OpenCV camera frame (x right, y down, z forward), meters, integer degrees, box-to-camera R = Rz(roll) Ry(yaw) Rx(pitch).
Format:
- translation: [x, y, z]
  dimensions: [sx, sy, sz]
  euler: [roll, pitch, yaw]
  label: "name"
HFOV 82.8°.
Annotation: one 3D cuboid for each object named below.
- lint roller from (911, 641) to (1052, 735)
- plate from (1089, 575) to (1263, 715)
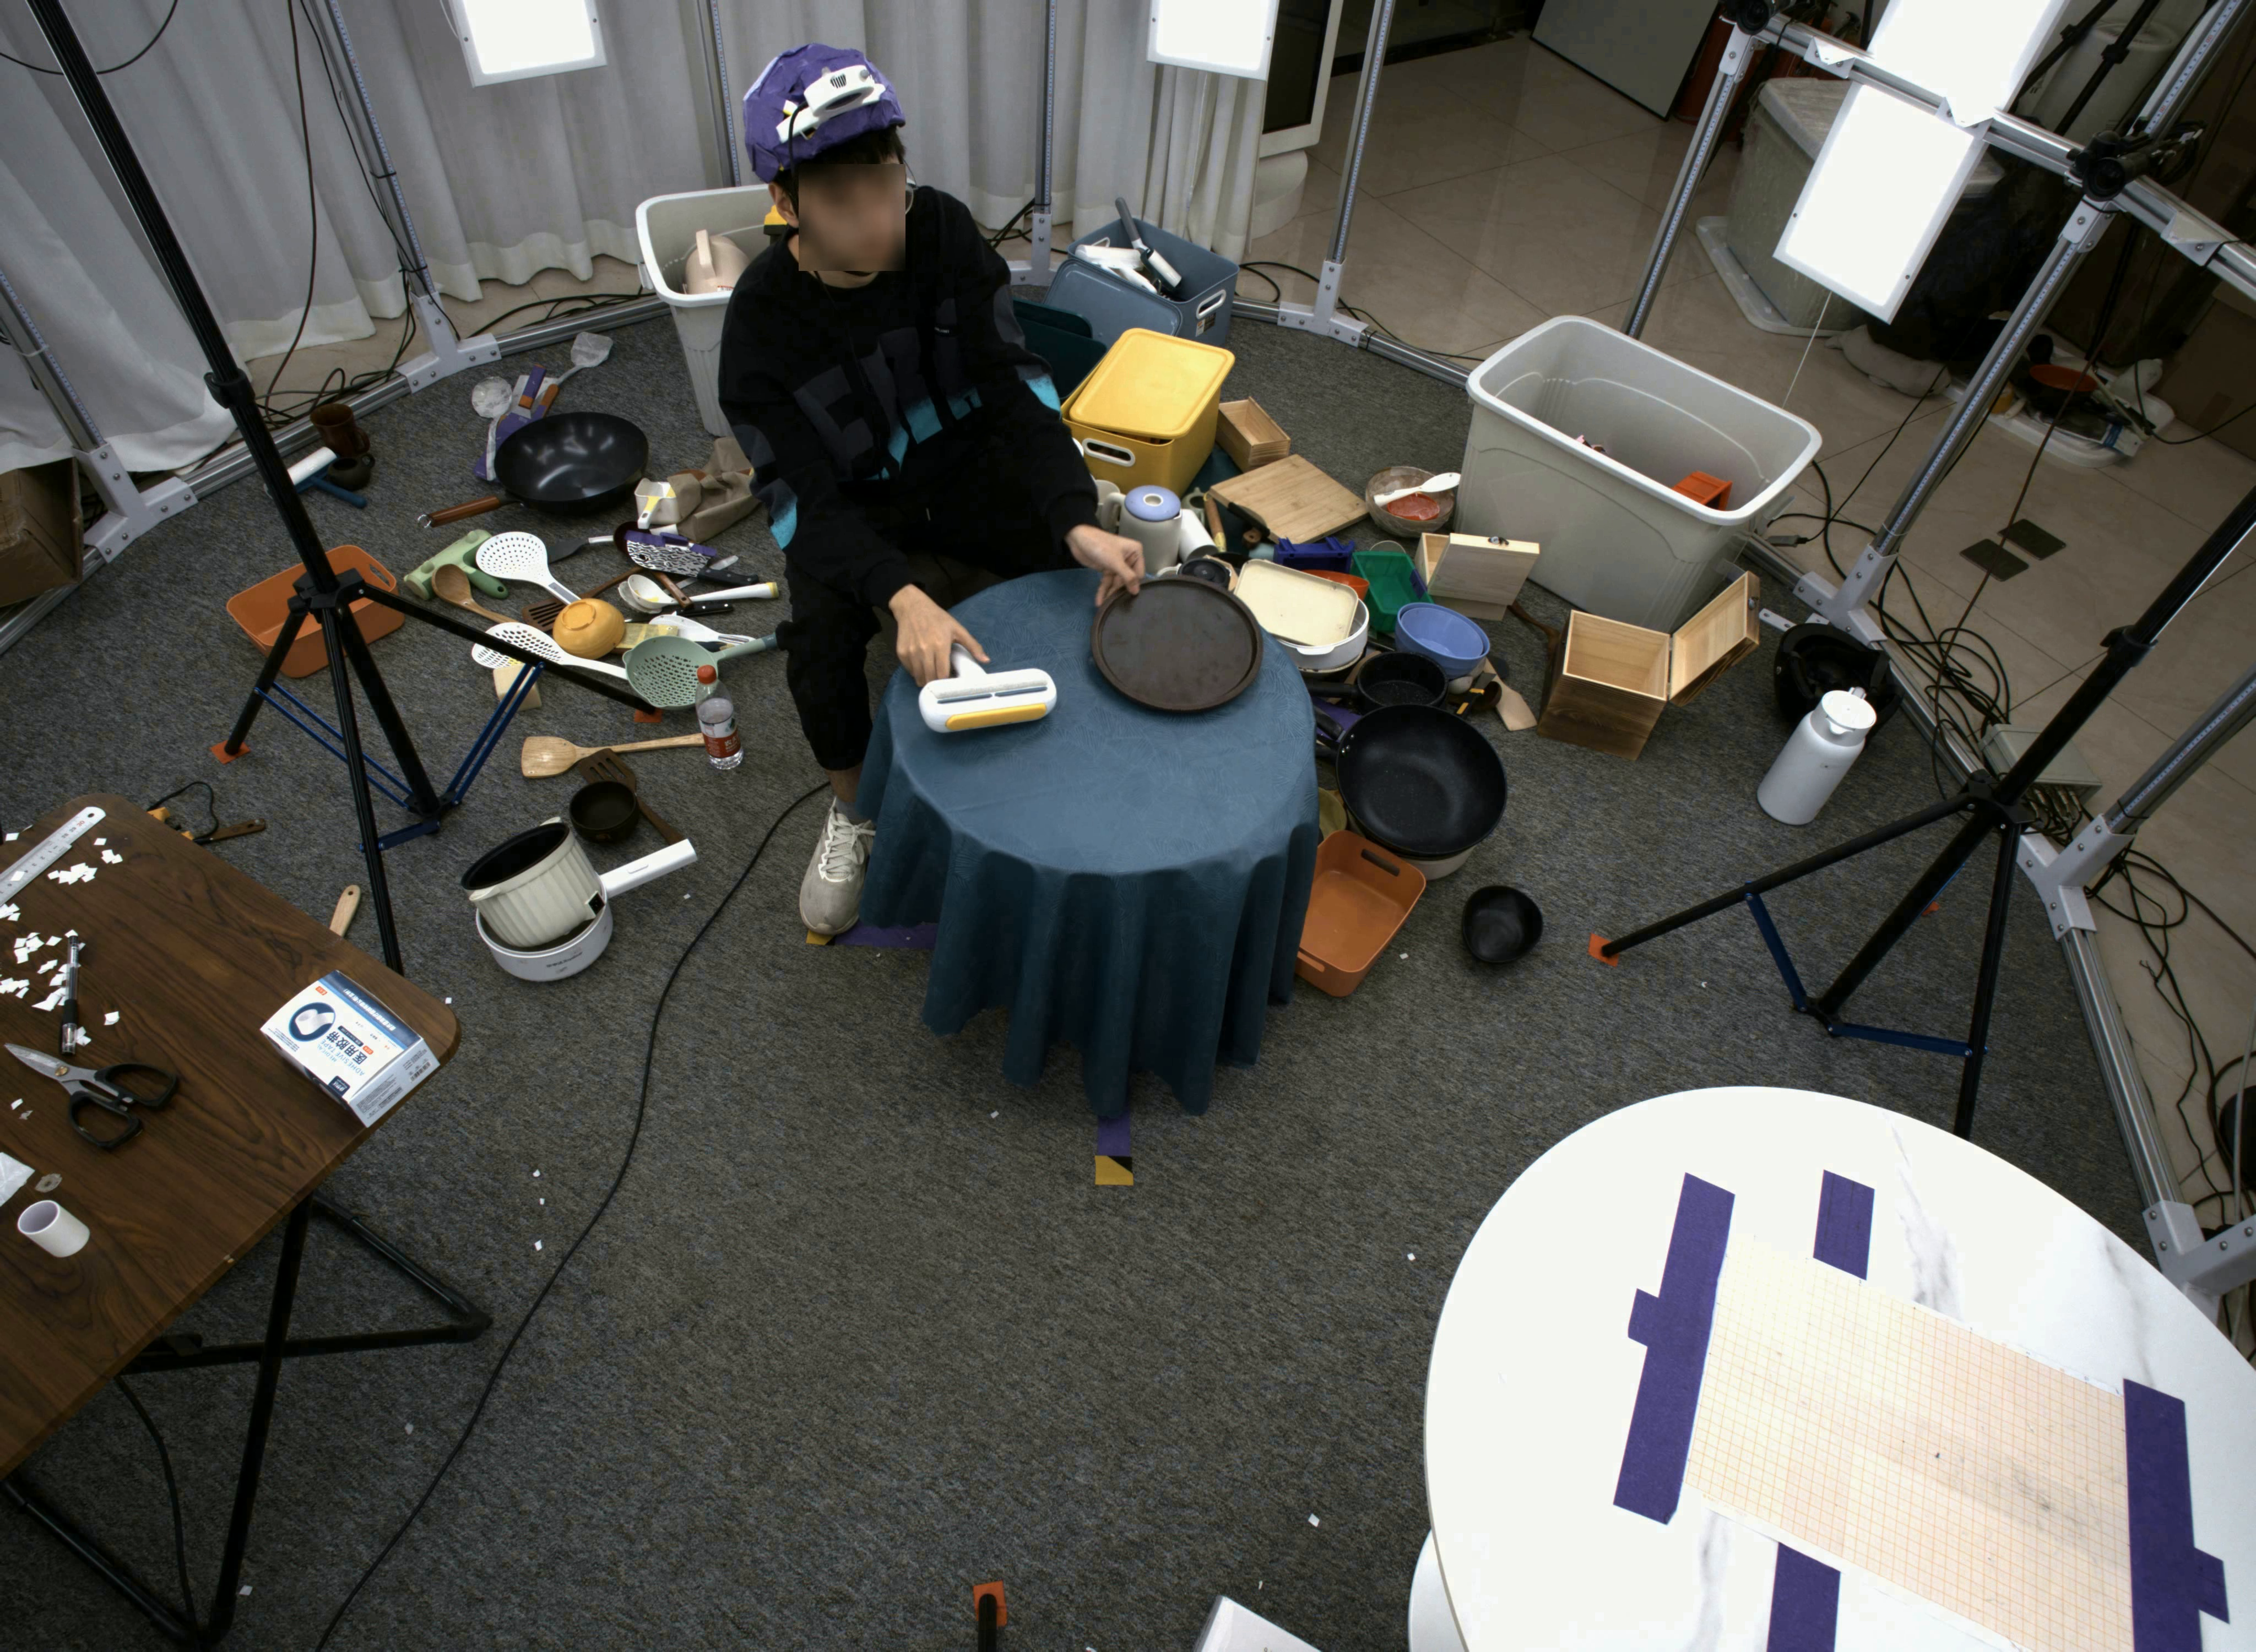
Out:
- translation: [-0.218, -0.207, 1.790]
  dimensions: [0.193, 0.072, 0.197]
  euler: [-10, 49, -19]
  label: "lint roller"
- translation: [0.070, -0.264, 1.868]
  dimensions: [0.254, 0.028, 0.261]
  euler: [1, 55, -2]
  label: "plate"
